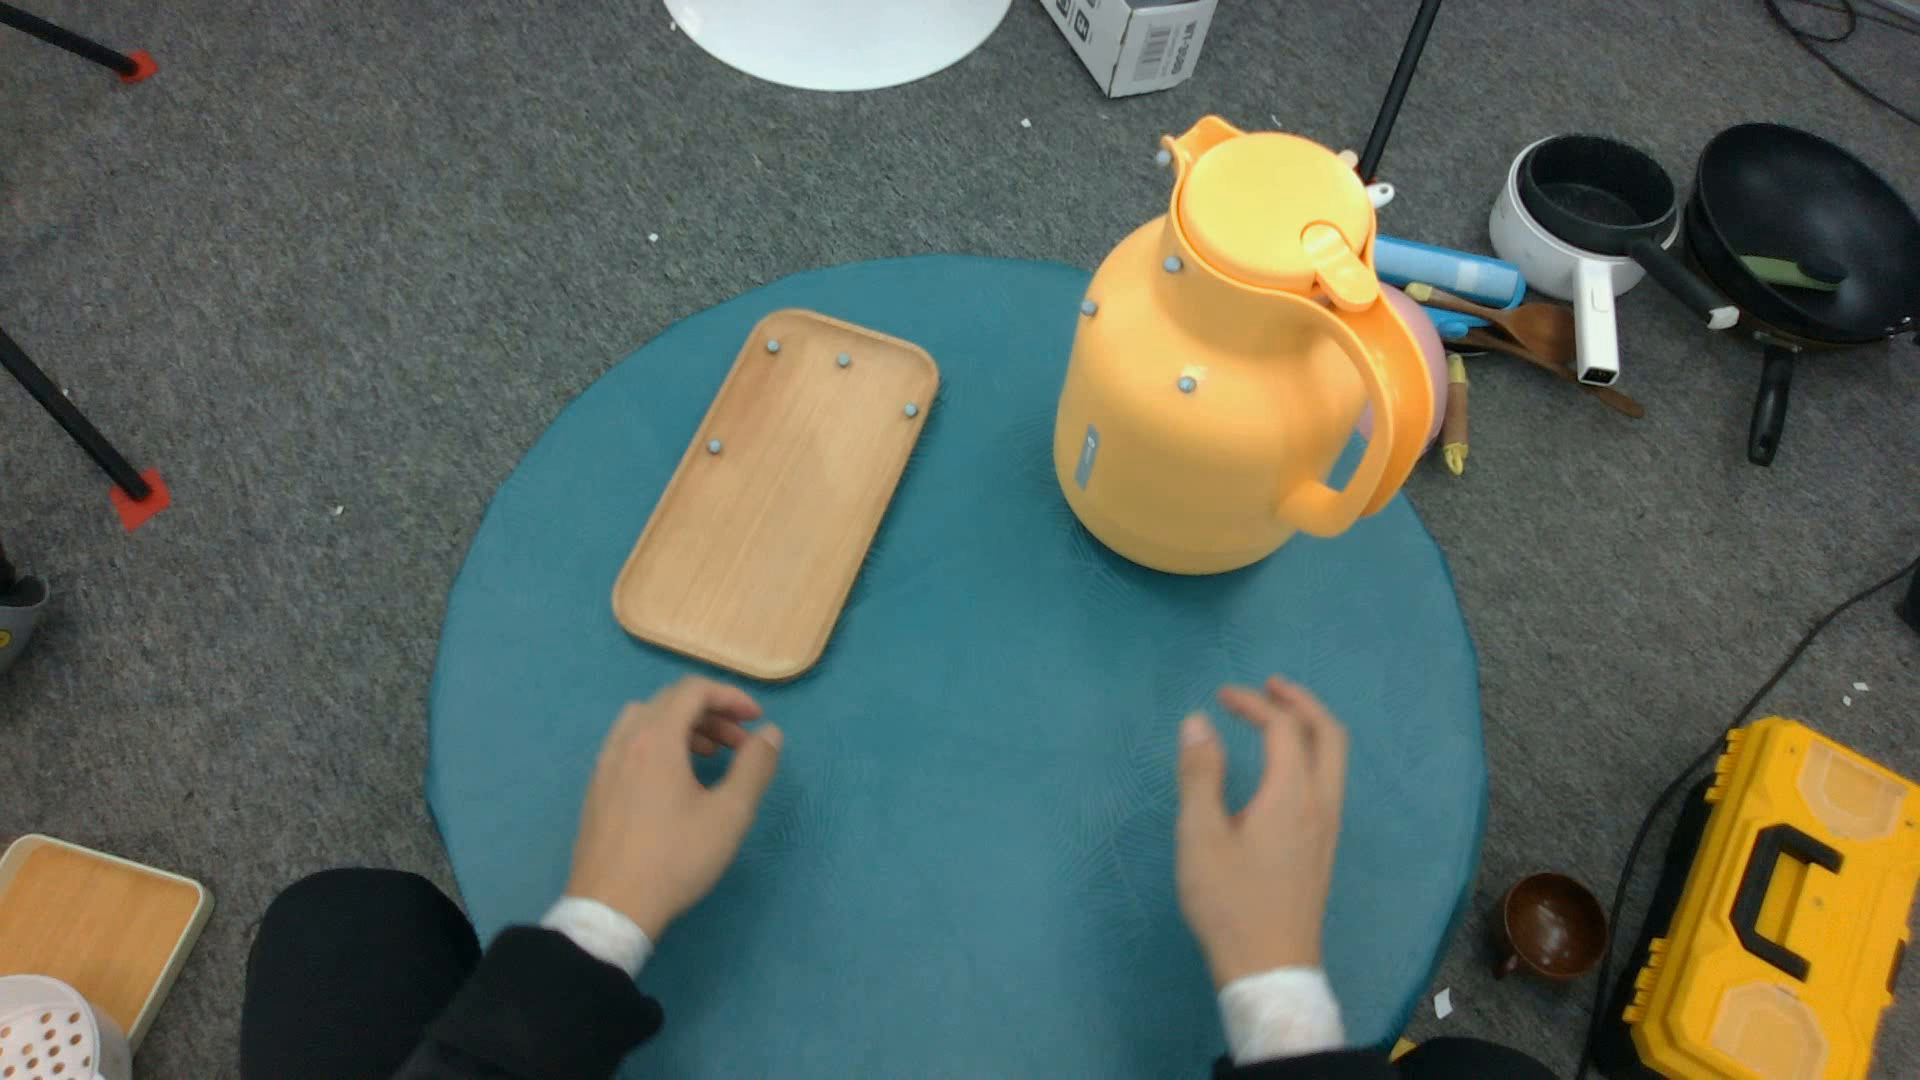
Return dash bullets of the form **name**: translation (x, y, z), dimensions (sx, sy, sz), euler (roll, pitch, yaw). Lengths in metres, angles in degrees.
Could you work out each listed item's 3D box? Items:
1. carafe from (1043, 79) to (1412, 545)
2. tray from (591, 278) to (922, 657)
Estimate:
- **carafe**: translation (0.143, -0.102, 0.739), dimensions (0.164, 0.259, 0.203), euler (-27, 65, -15)
- **tray**: translation (-0.117, -0.050, 0.831), dimensions (0.130, 0.023, 0.252), euler (18, 63, 8)
